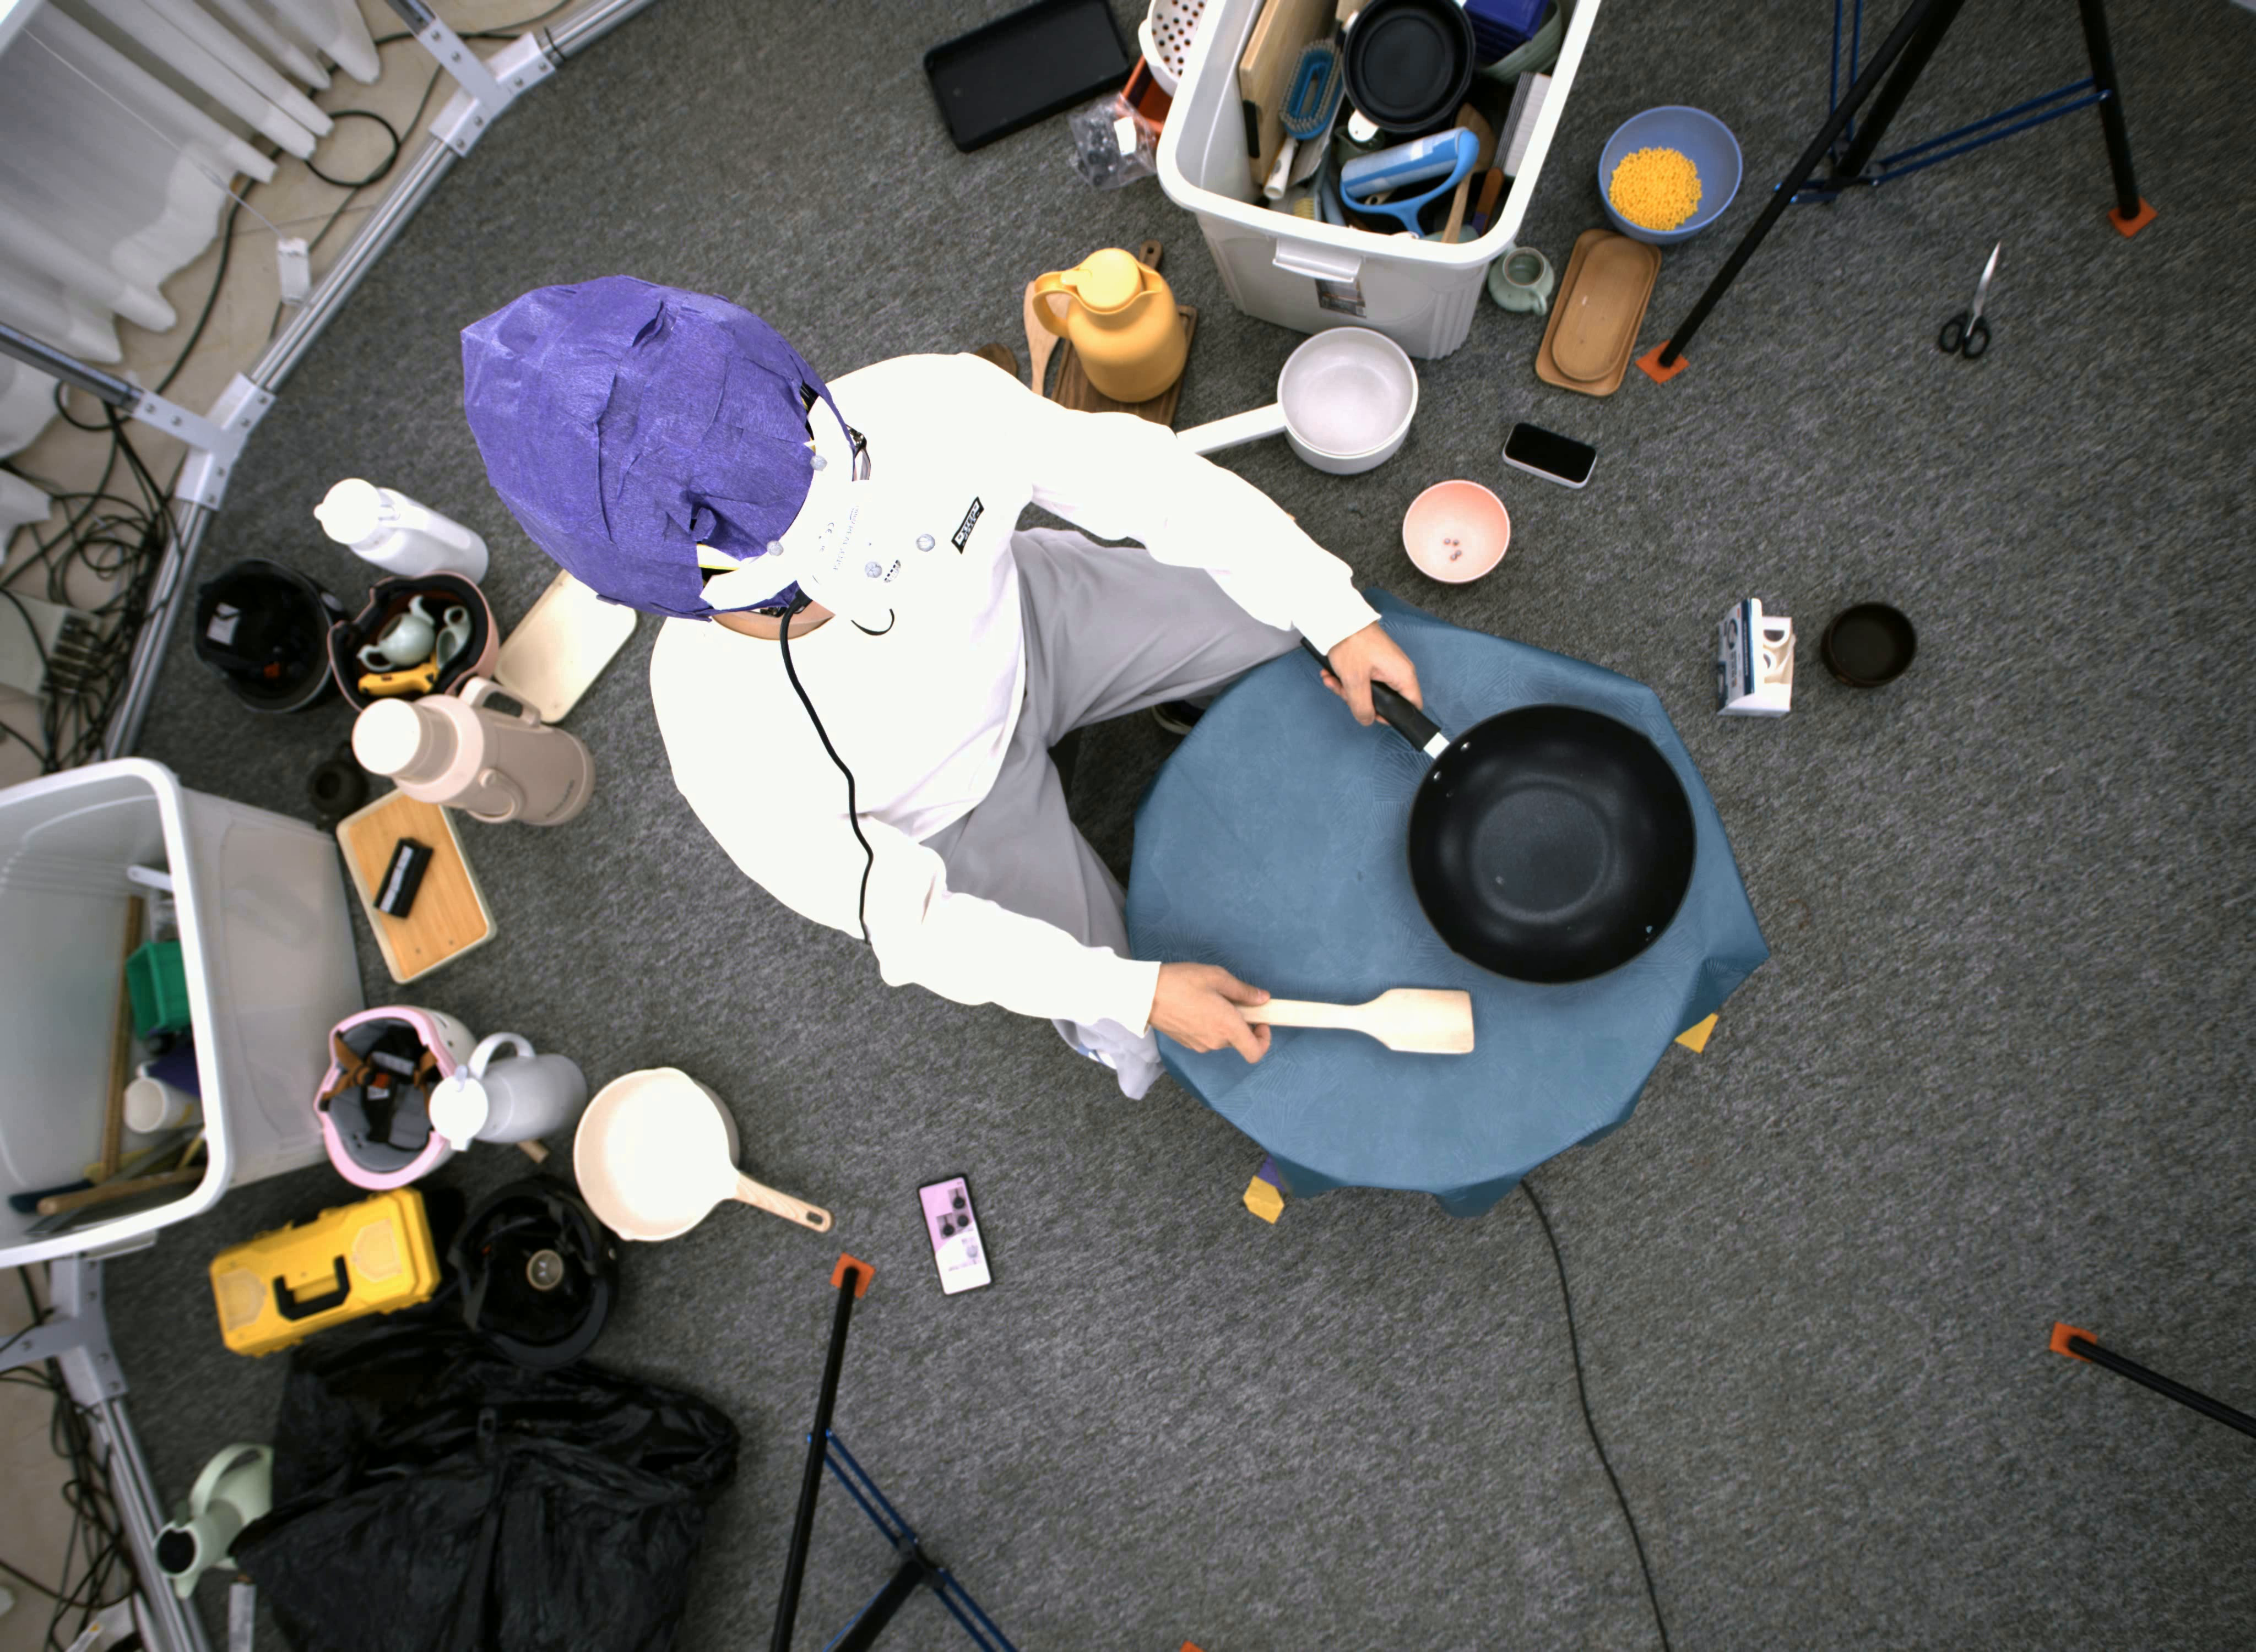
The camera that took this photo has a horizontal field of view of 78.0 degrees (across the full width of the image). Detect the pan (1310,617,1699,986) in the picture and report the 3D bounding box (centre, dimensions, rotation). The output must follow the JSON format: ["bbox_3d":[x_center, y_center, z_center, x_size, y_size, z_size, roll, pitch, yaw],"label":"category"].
[{"bbox_3d":[0.358,-0.043,1.404,0.461,0.087,0.289,44,95,10],"label":"pan"}]

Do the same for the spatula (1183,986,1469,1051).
[{"bbox_3d":[0.203,0.192,1.424,0.293,0.011,0.070,2,57,3],"label":"spatula"}]
